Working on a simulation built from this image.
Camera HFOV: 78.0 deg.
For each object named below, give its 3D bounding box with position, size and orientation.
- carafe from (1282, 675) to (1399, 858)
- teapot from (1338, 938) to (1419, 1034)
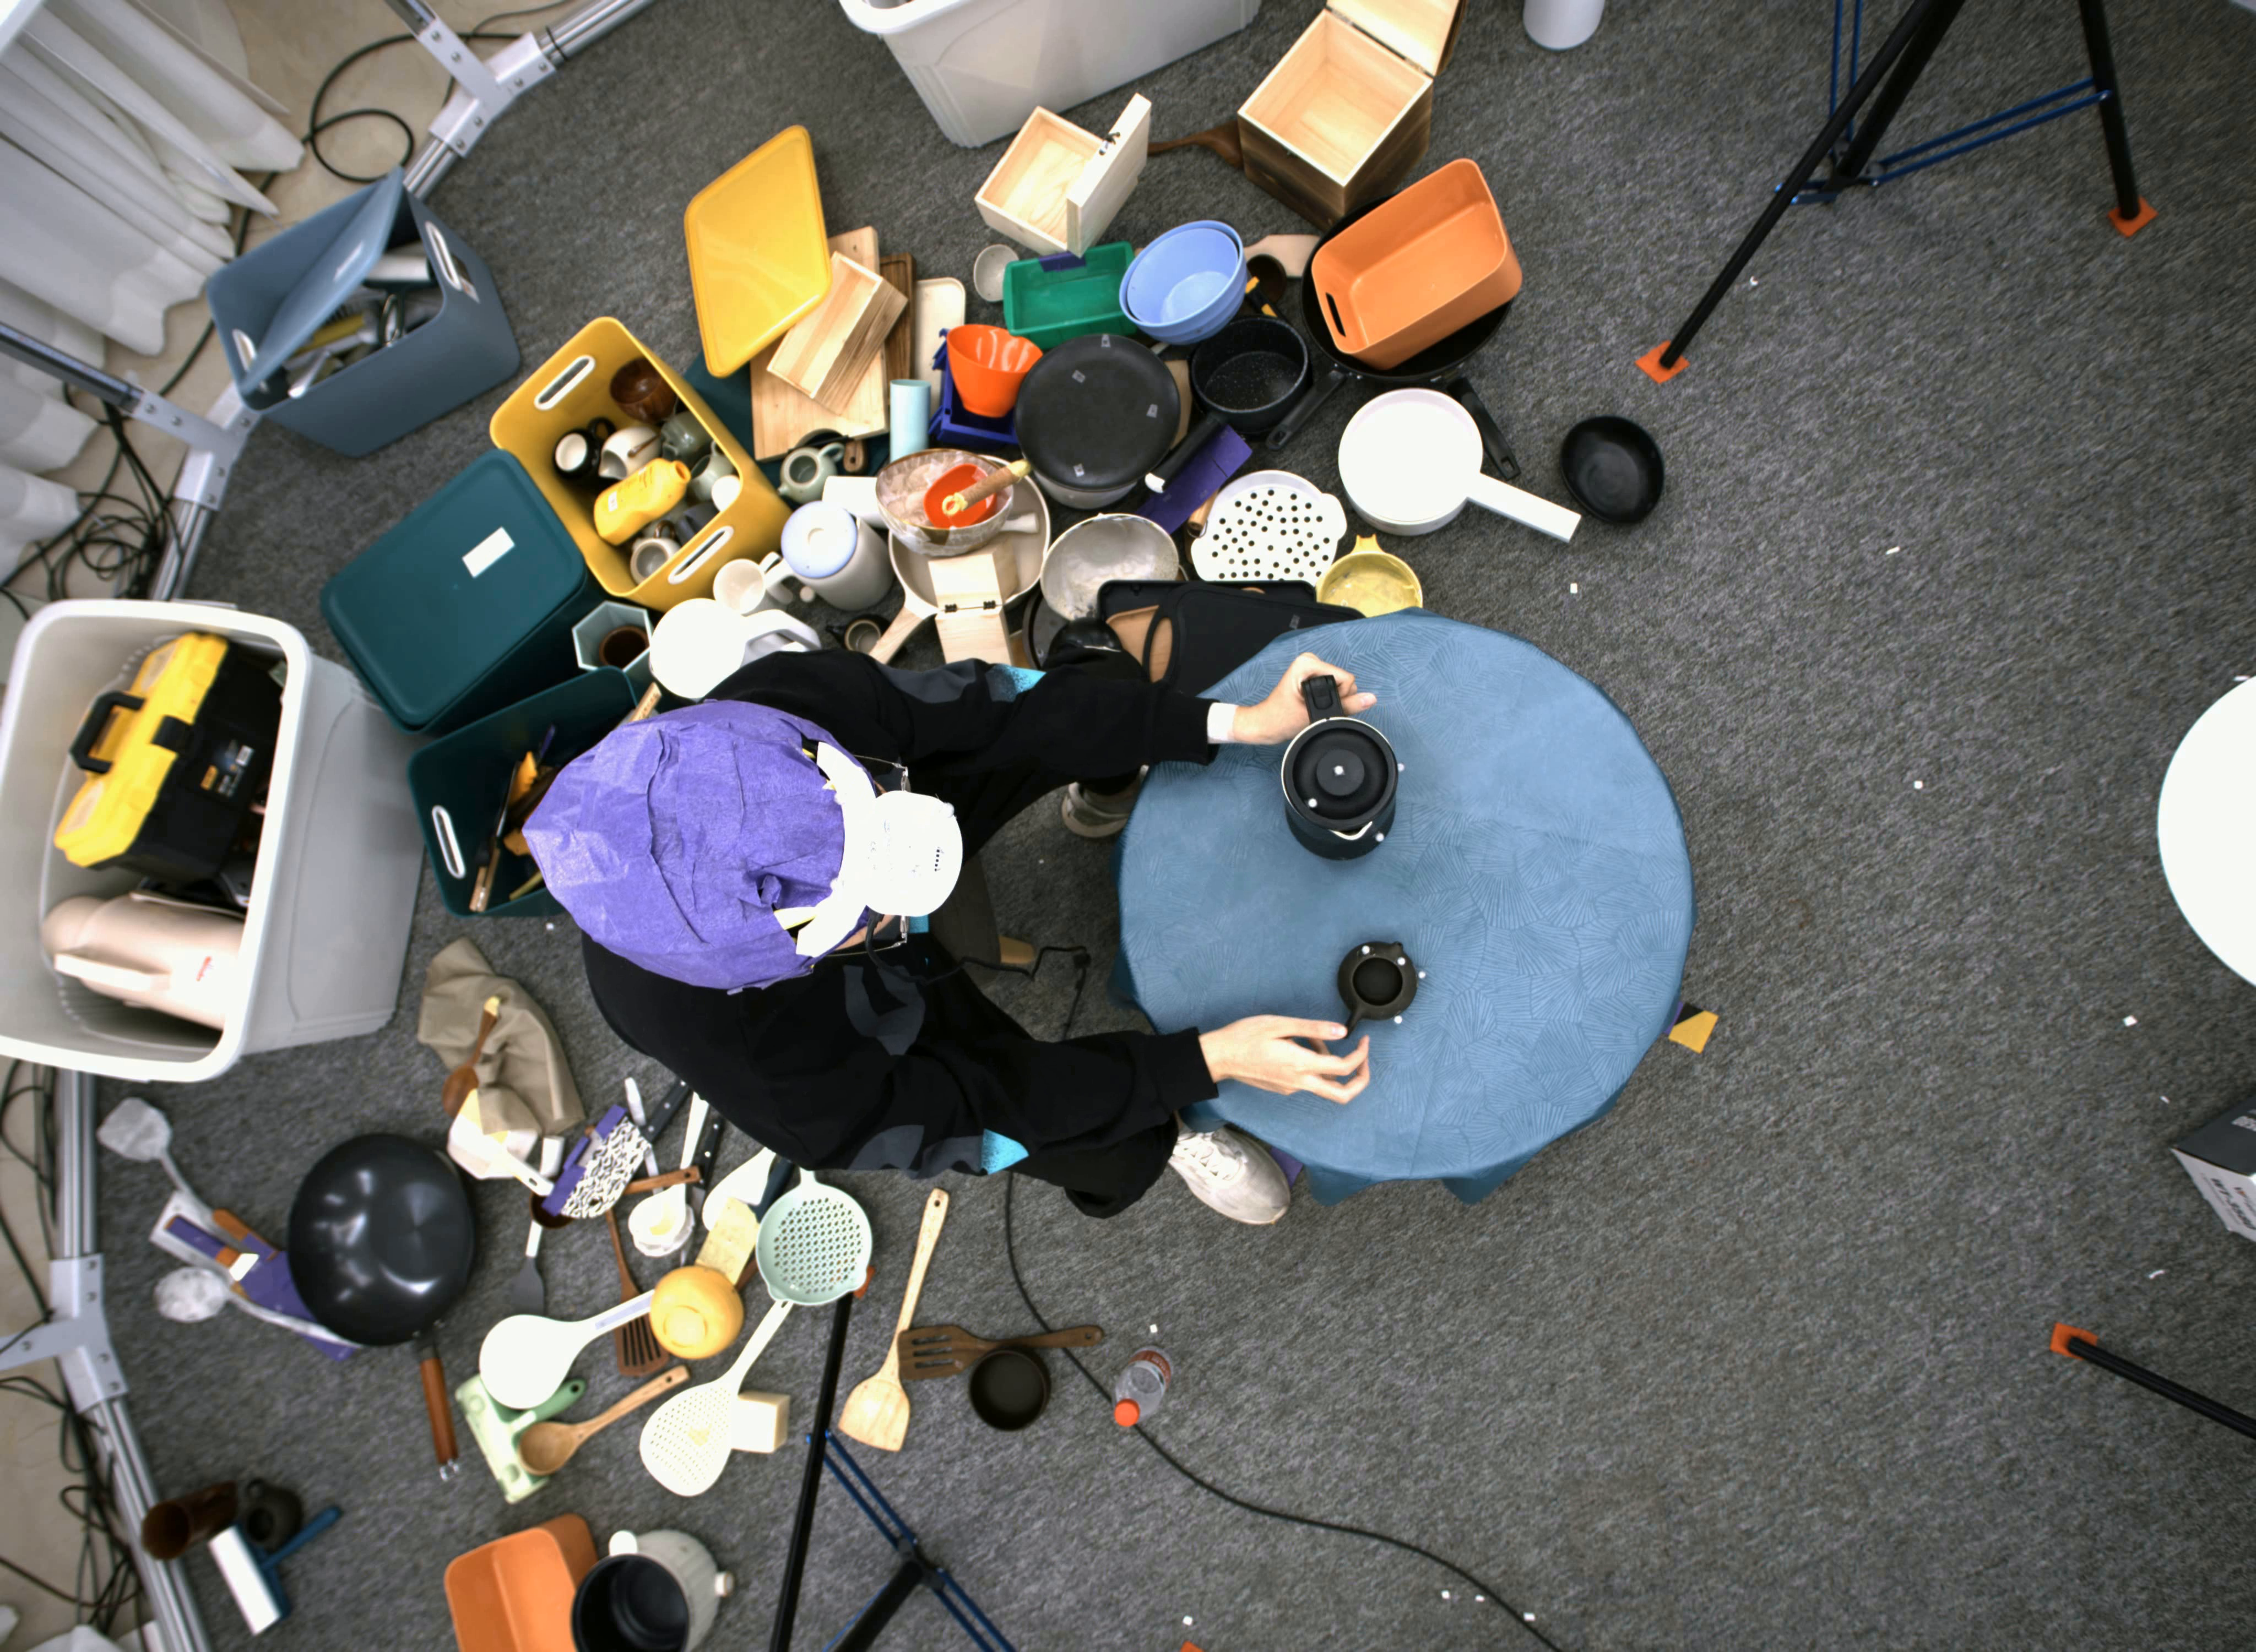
[{"bbox_3d":[0.203,-0.058,1.351,0.115,0.174,0.170,-14,81,9],"label":"carafe"},{"bbox_3d":[0.252,0.166,1.429,0.082,0.053,0.114,36,90,11],"label":"teapot"}]
